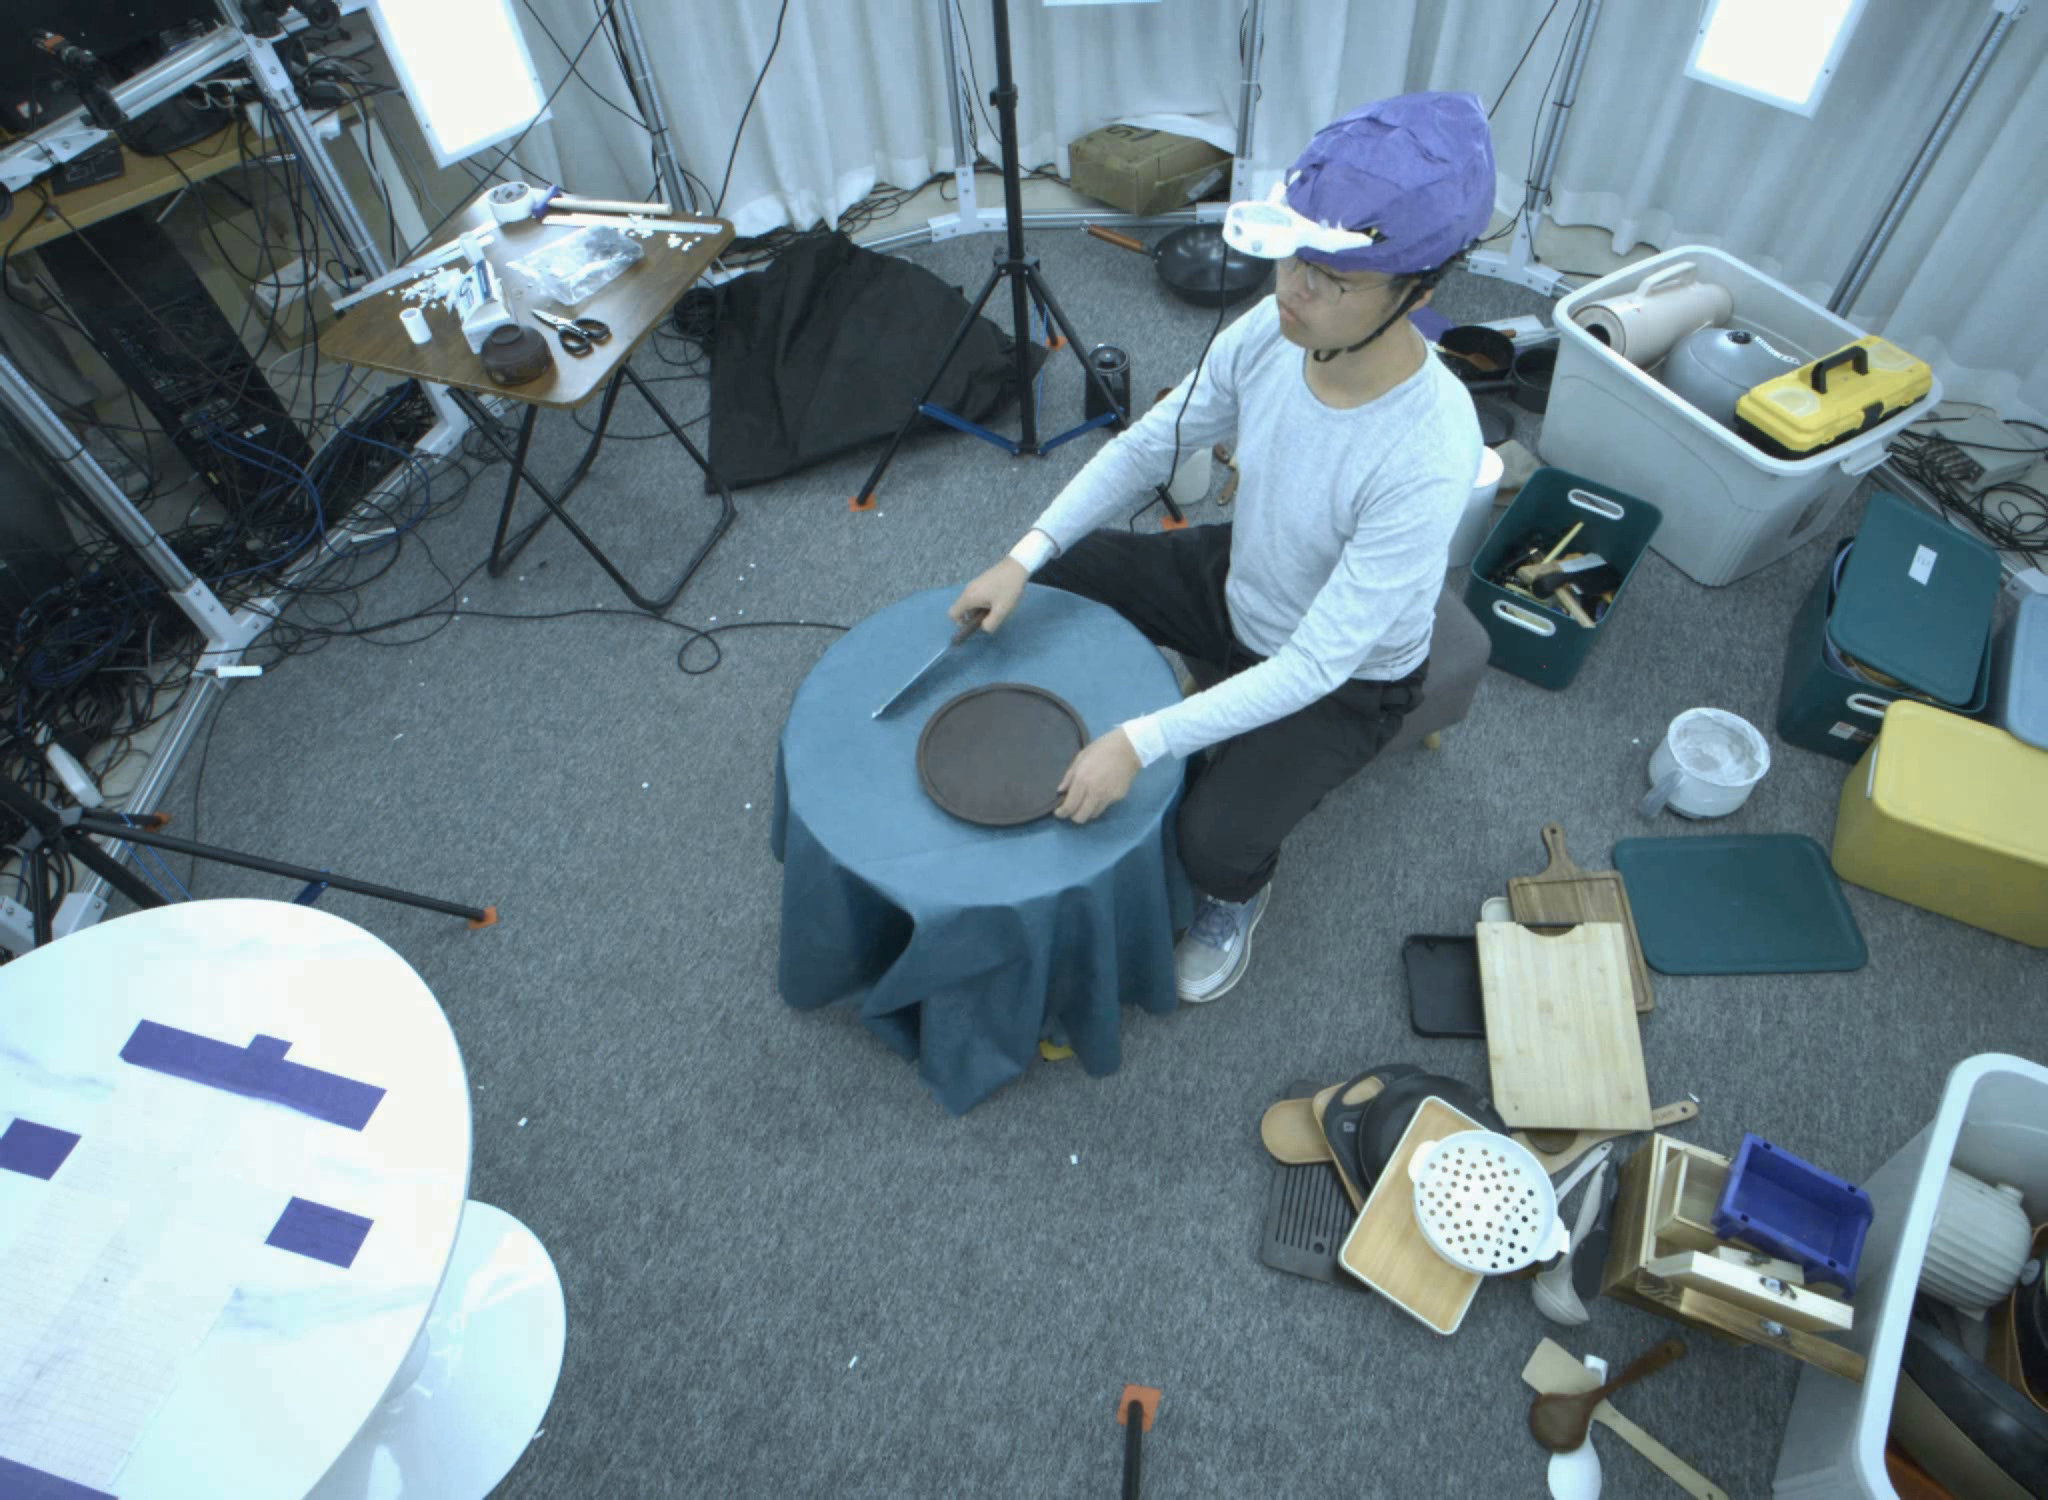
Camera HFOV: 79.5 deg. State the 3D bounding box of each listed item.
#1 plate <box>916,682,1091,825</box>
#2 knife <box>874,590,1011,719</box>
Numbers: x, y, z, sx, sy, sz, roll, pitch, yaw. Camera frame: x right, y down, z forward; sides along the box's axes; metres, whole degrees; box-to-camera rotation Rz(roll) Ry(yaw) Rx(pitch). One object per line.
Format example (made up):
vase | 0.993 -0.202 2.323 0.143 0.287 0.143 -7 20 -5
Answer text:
plate | -0.030 0.004 1.777 0.254 0.029 0.252 0 52 1
knife | -0.125 -0.145 1.866 0.290 0.049 0.020 -45 102 -16
